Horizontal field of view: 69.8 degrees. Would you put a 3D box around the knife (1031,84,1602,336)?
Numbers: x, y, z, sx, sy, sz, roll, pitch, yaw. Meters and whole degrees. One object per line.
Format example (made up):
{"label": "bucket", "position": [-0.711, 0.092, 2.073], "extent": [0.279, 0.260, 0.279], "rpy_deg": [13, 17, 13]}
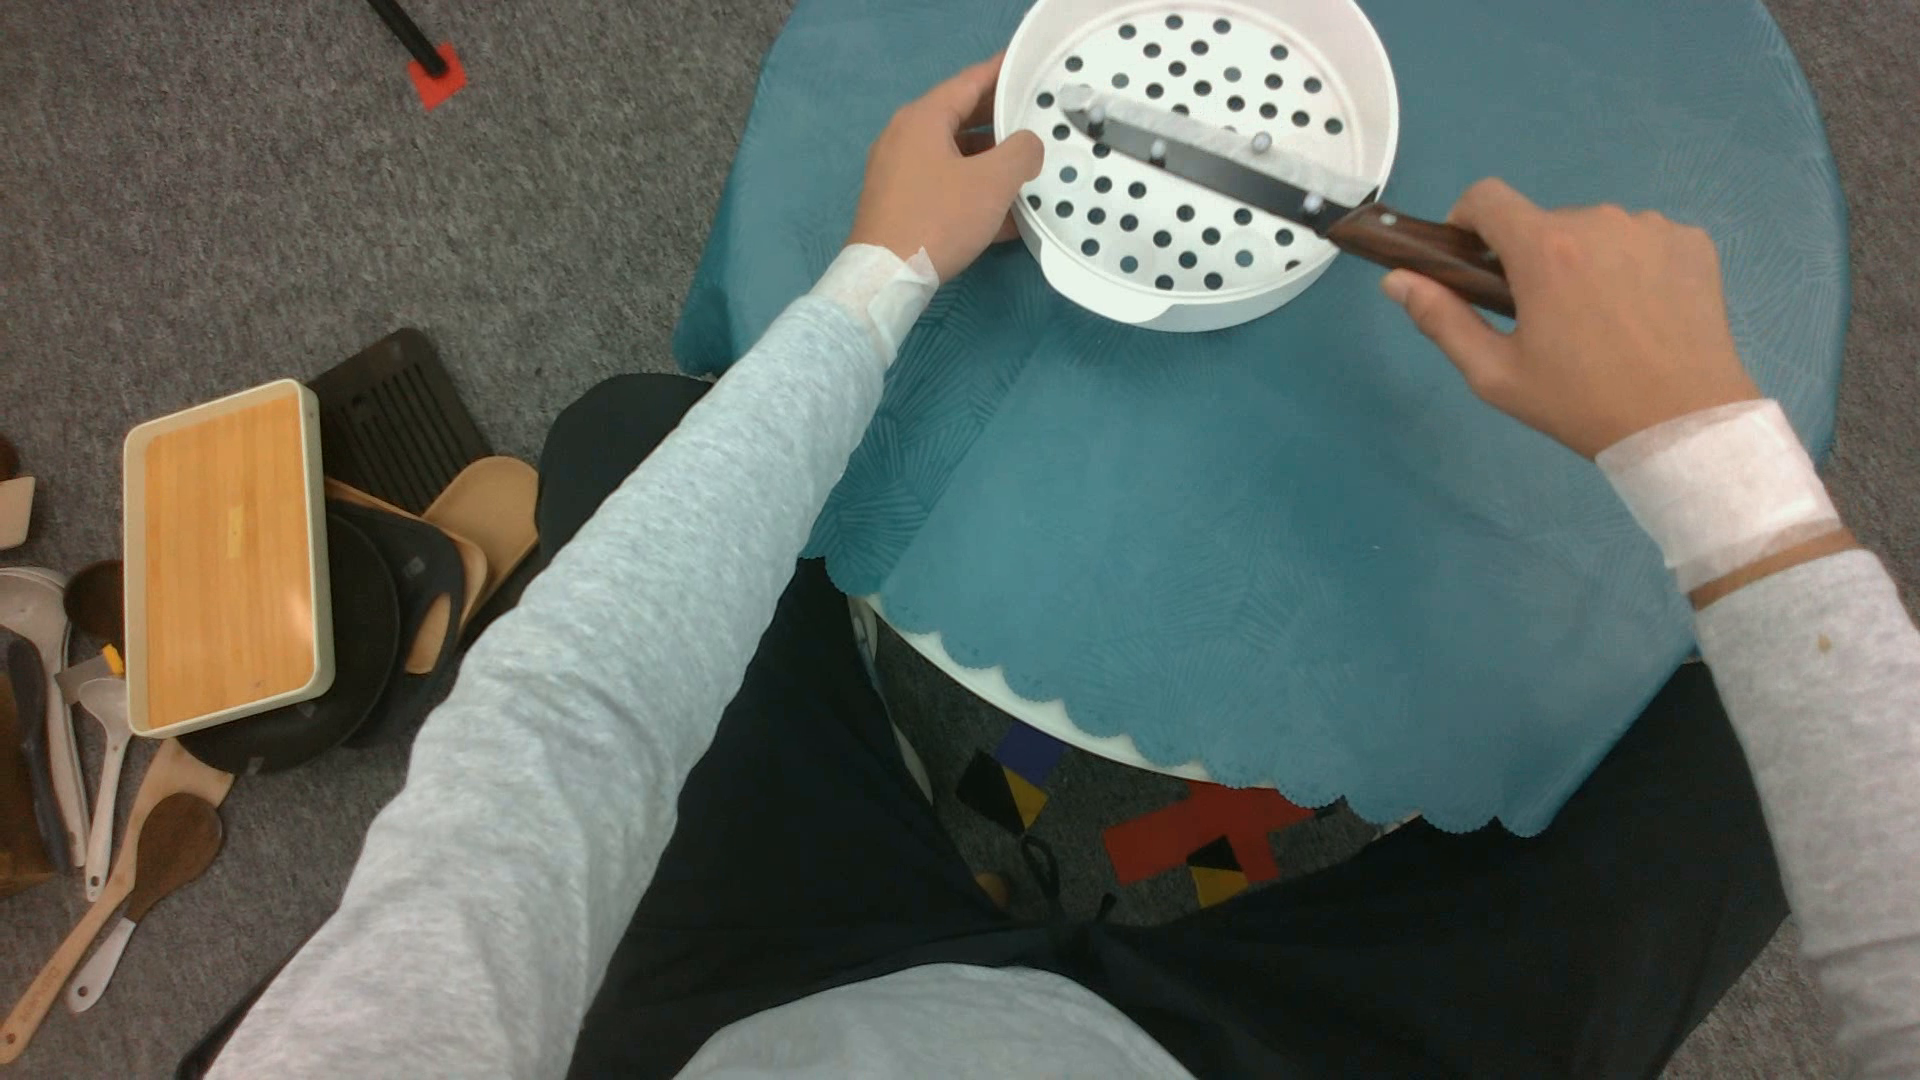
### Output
{"label": "knife", "position": [0.148, -0.157, 0.619], "extent": [0.289, 0.020, 0.050], "rpy_deg": [30, 56, 24]}

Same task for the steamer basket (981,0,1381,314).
{"label": "steamer basket", "position": [0.113, -0.218, 0.724], "extent": [0.202, 0.069, 0.231], "rpy_deg": [28, 82, 7]}
